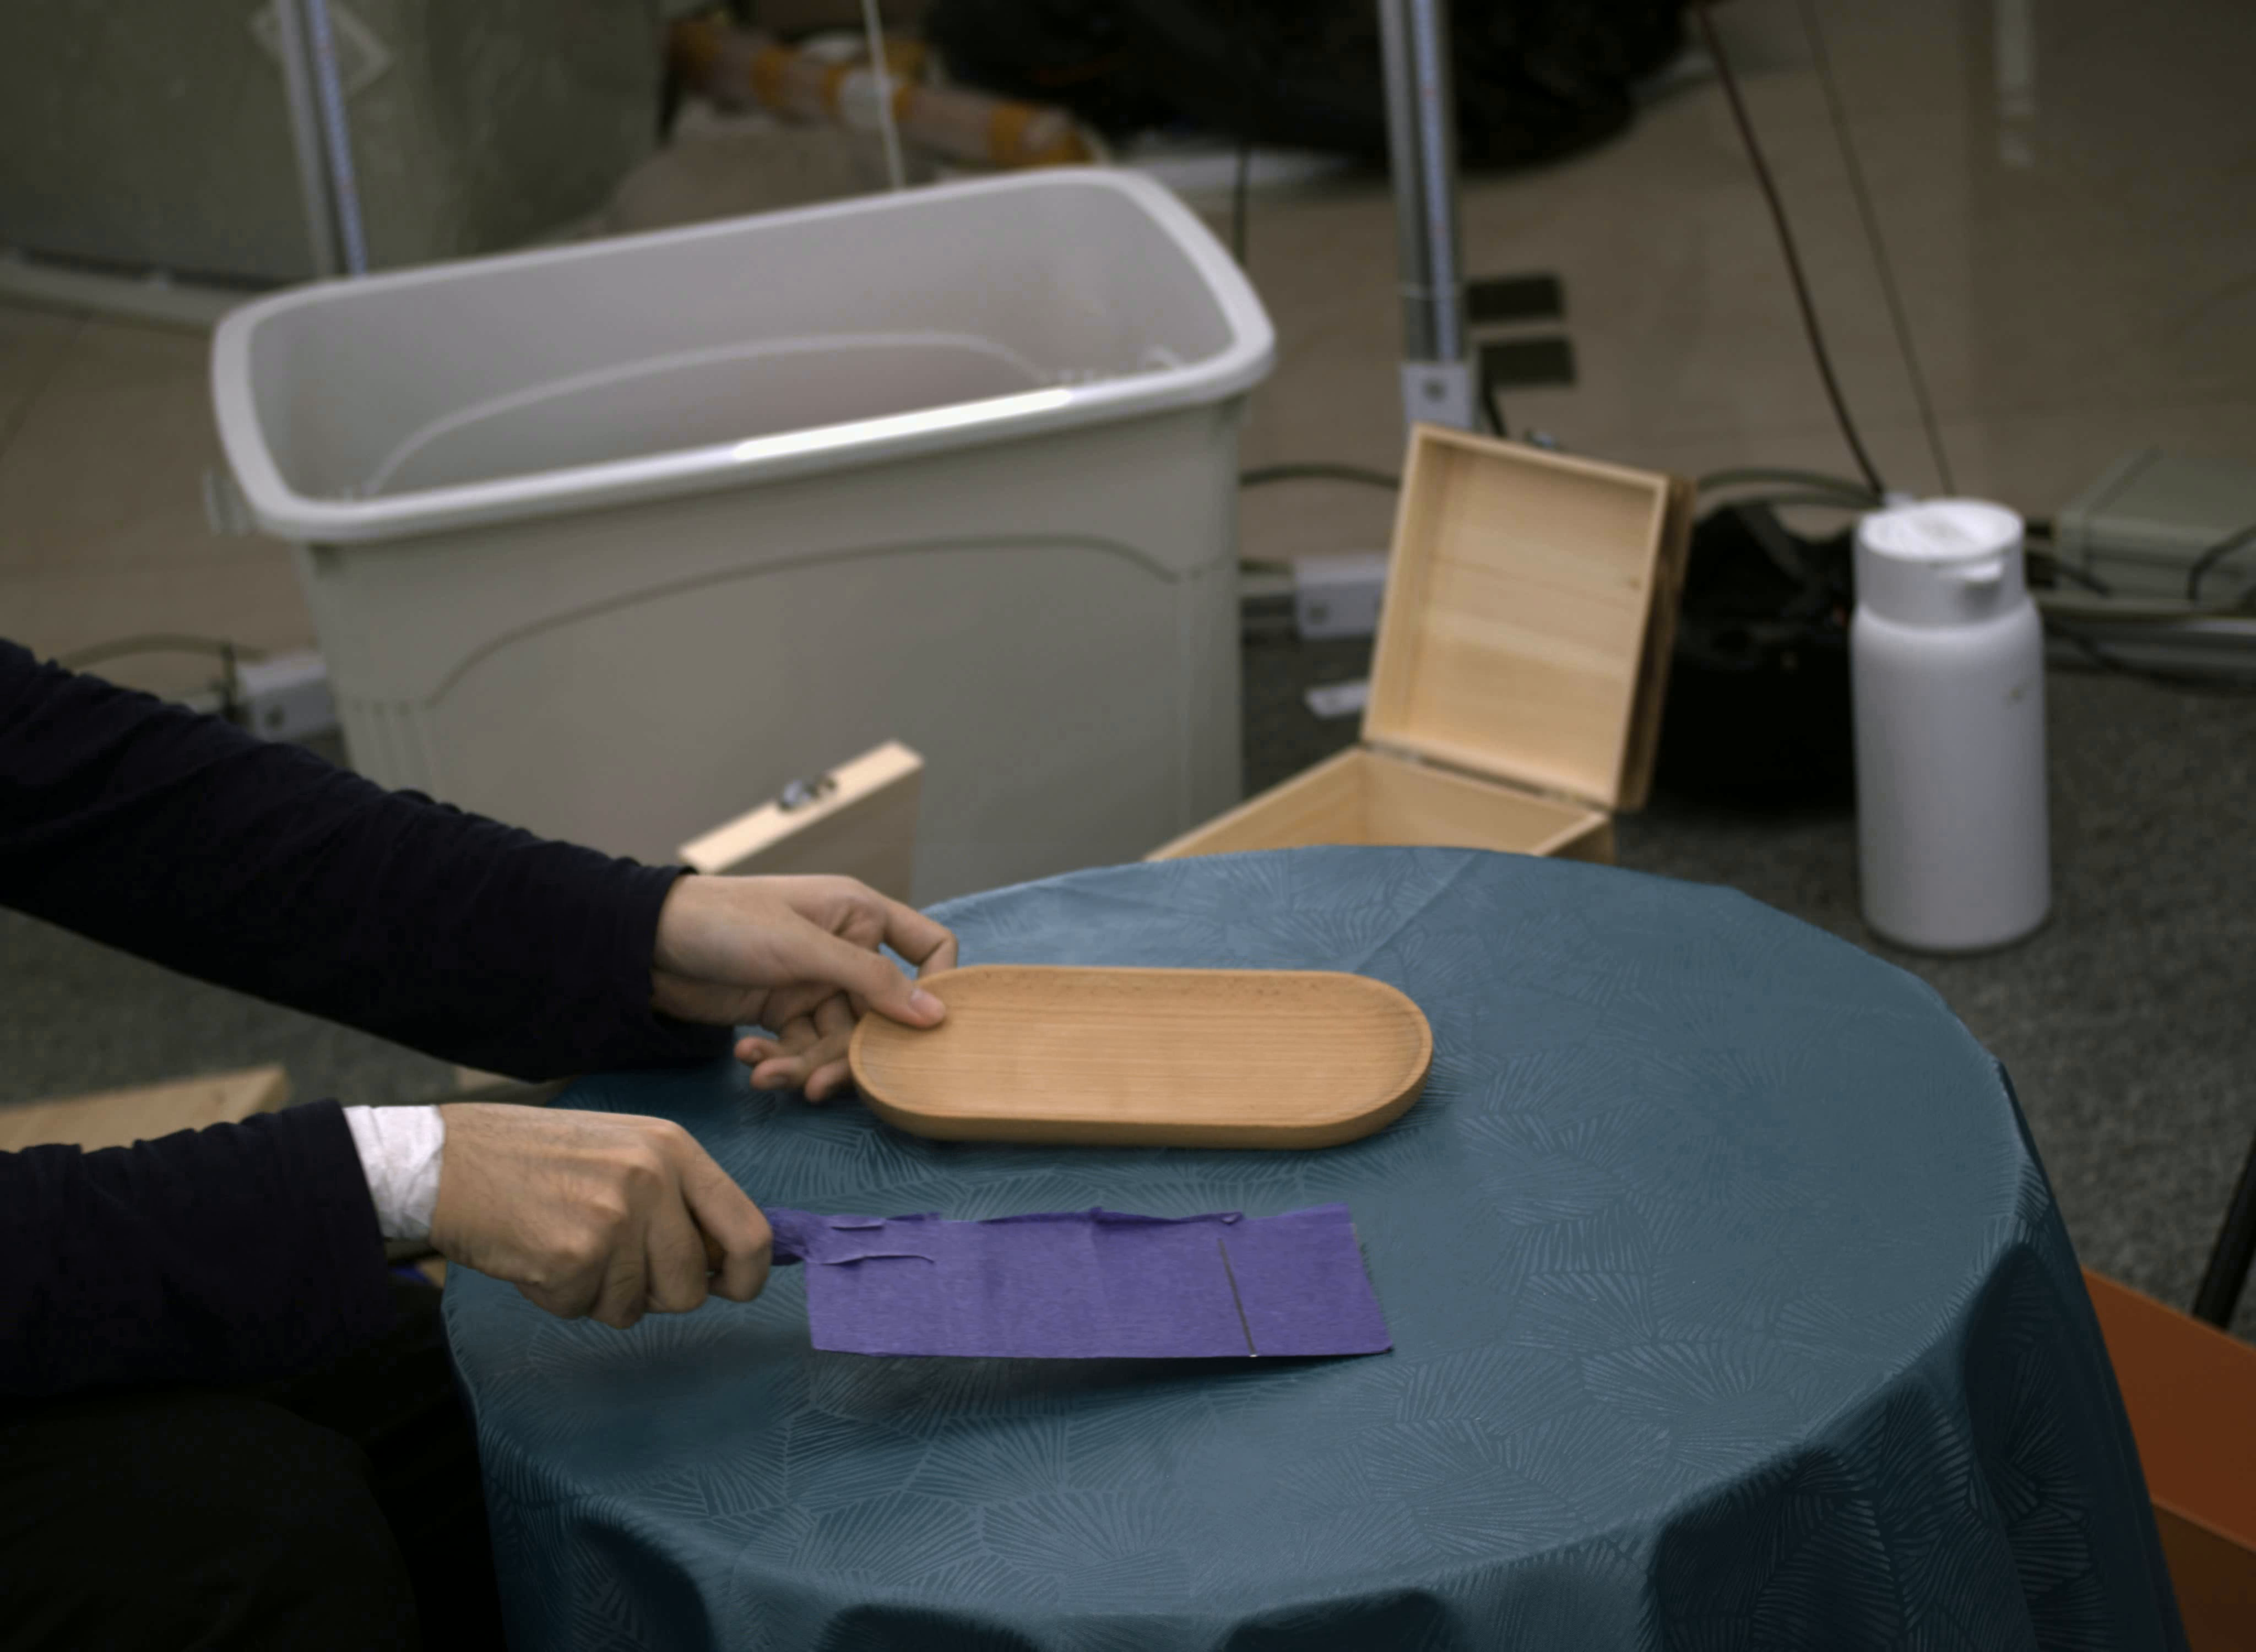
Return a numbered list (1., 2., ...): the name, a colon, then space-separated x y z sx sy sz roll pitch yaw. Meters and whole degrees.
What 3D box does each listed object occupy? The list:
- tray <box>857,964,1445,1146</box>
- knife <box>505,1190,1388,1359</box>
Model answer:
1. tray: 0.009 0.090 2.213 0.231 0.021 0.100 1 37 8
2. knife: -0.065 0.160 2.040 0.315 0.033 0.102 -2 28 -7
